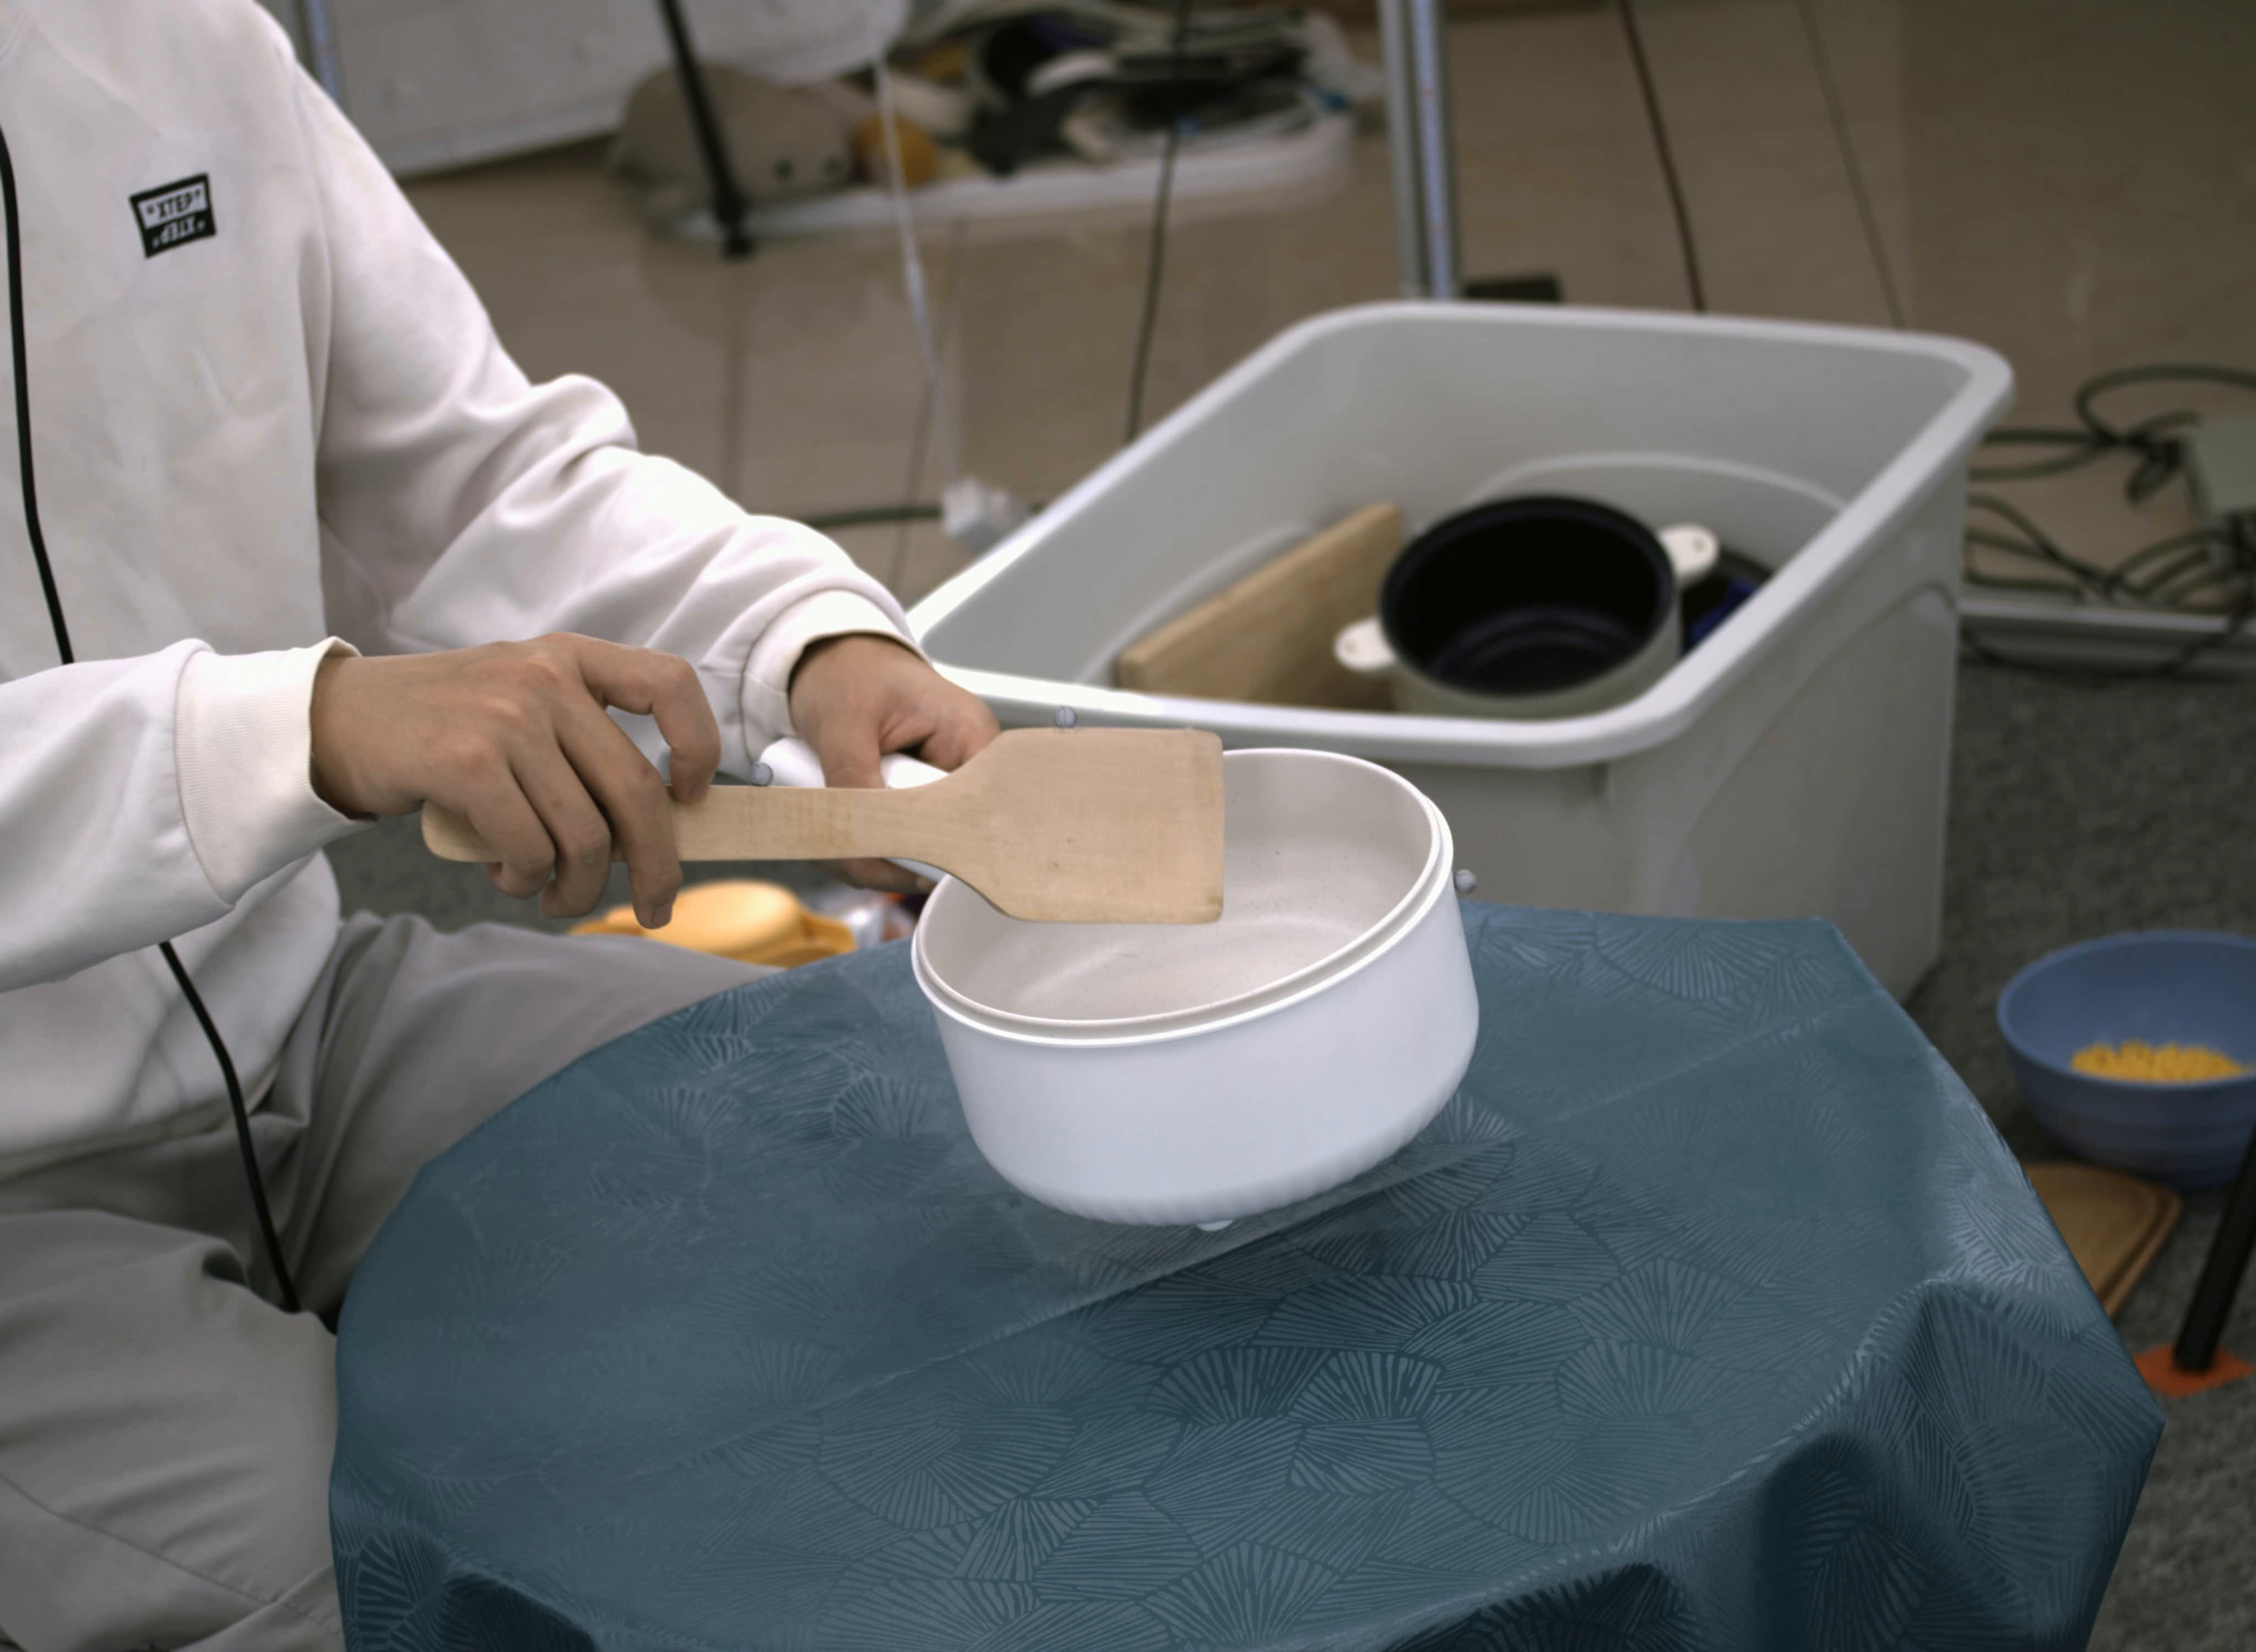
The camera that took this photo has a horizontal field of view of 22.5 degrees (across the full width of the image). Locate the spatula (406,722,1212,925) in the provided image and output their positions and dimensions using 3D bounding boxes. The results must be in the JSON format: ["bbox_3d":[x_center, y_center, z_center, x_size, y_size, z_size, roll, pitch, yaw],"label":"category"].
[{"bbox_3d":[-0.108,-0.002,1.982,0.293,0.072,0.010,0,2,-18],"label":"spatula"}]

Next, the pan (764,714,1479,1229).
[{"bbox_3d":[-0.017,0.045,2.137,0.199,0.104,0.352,-31,31,-28],"label":"pan"}]
